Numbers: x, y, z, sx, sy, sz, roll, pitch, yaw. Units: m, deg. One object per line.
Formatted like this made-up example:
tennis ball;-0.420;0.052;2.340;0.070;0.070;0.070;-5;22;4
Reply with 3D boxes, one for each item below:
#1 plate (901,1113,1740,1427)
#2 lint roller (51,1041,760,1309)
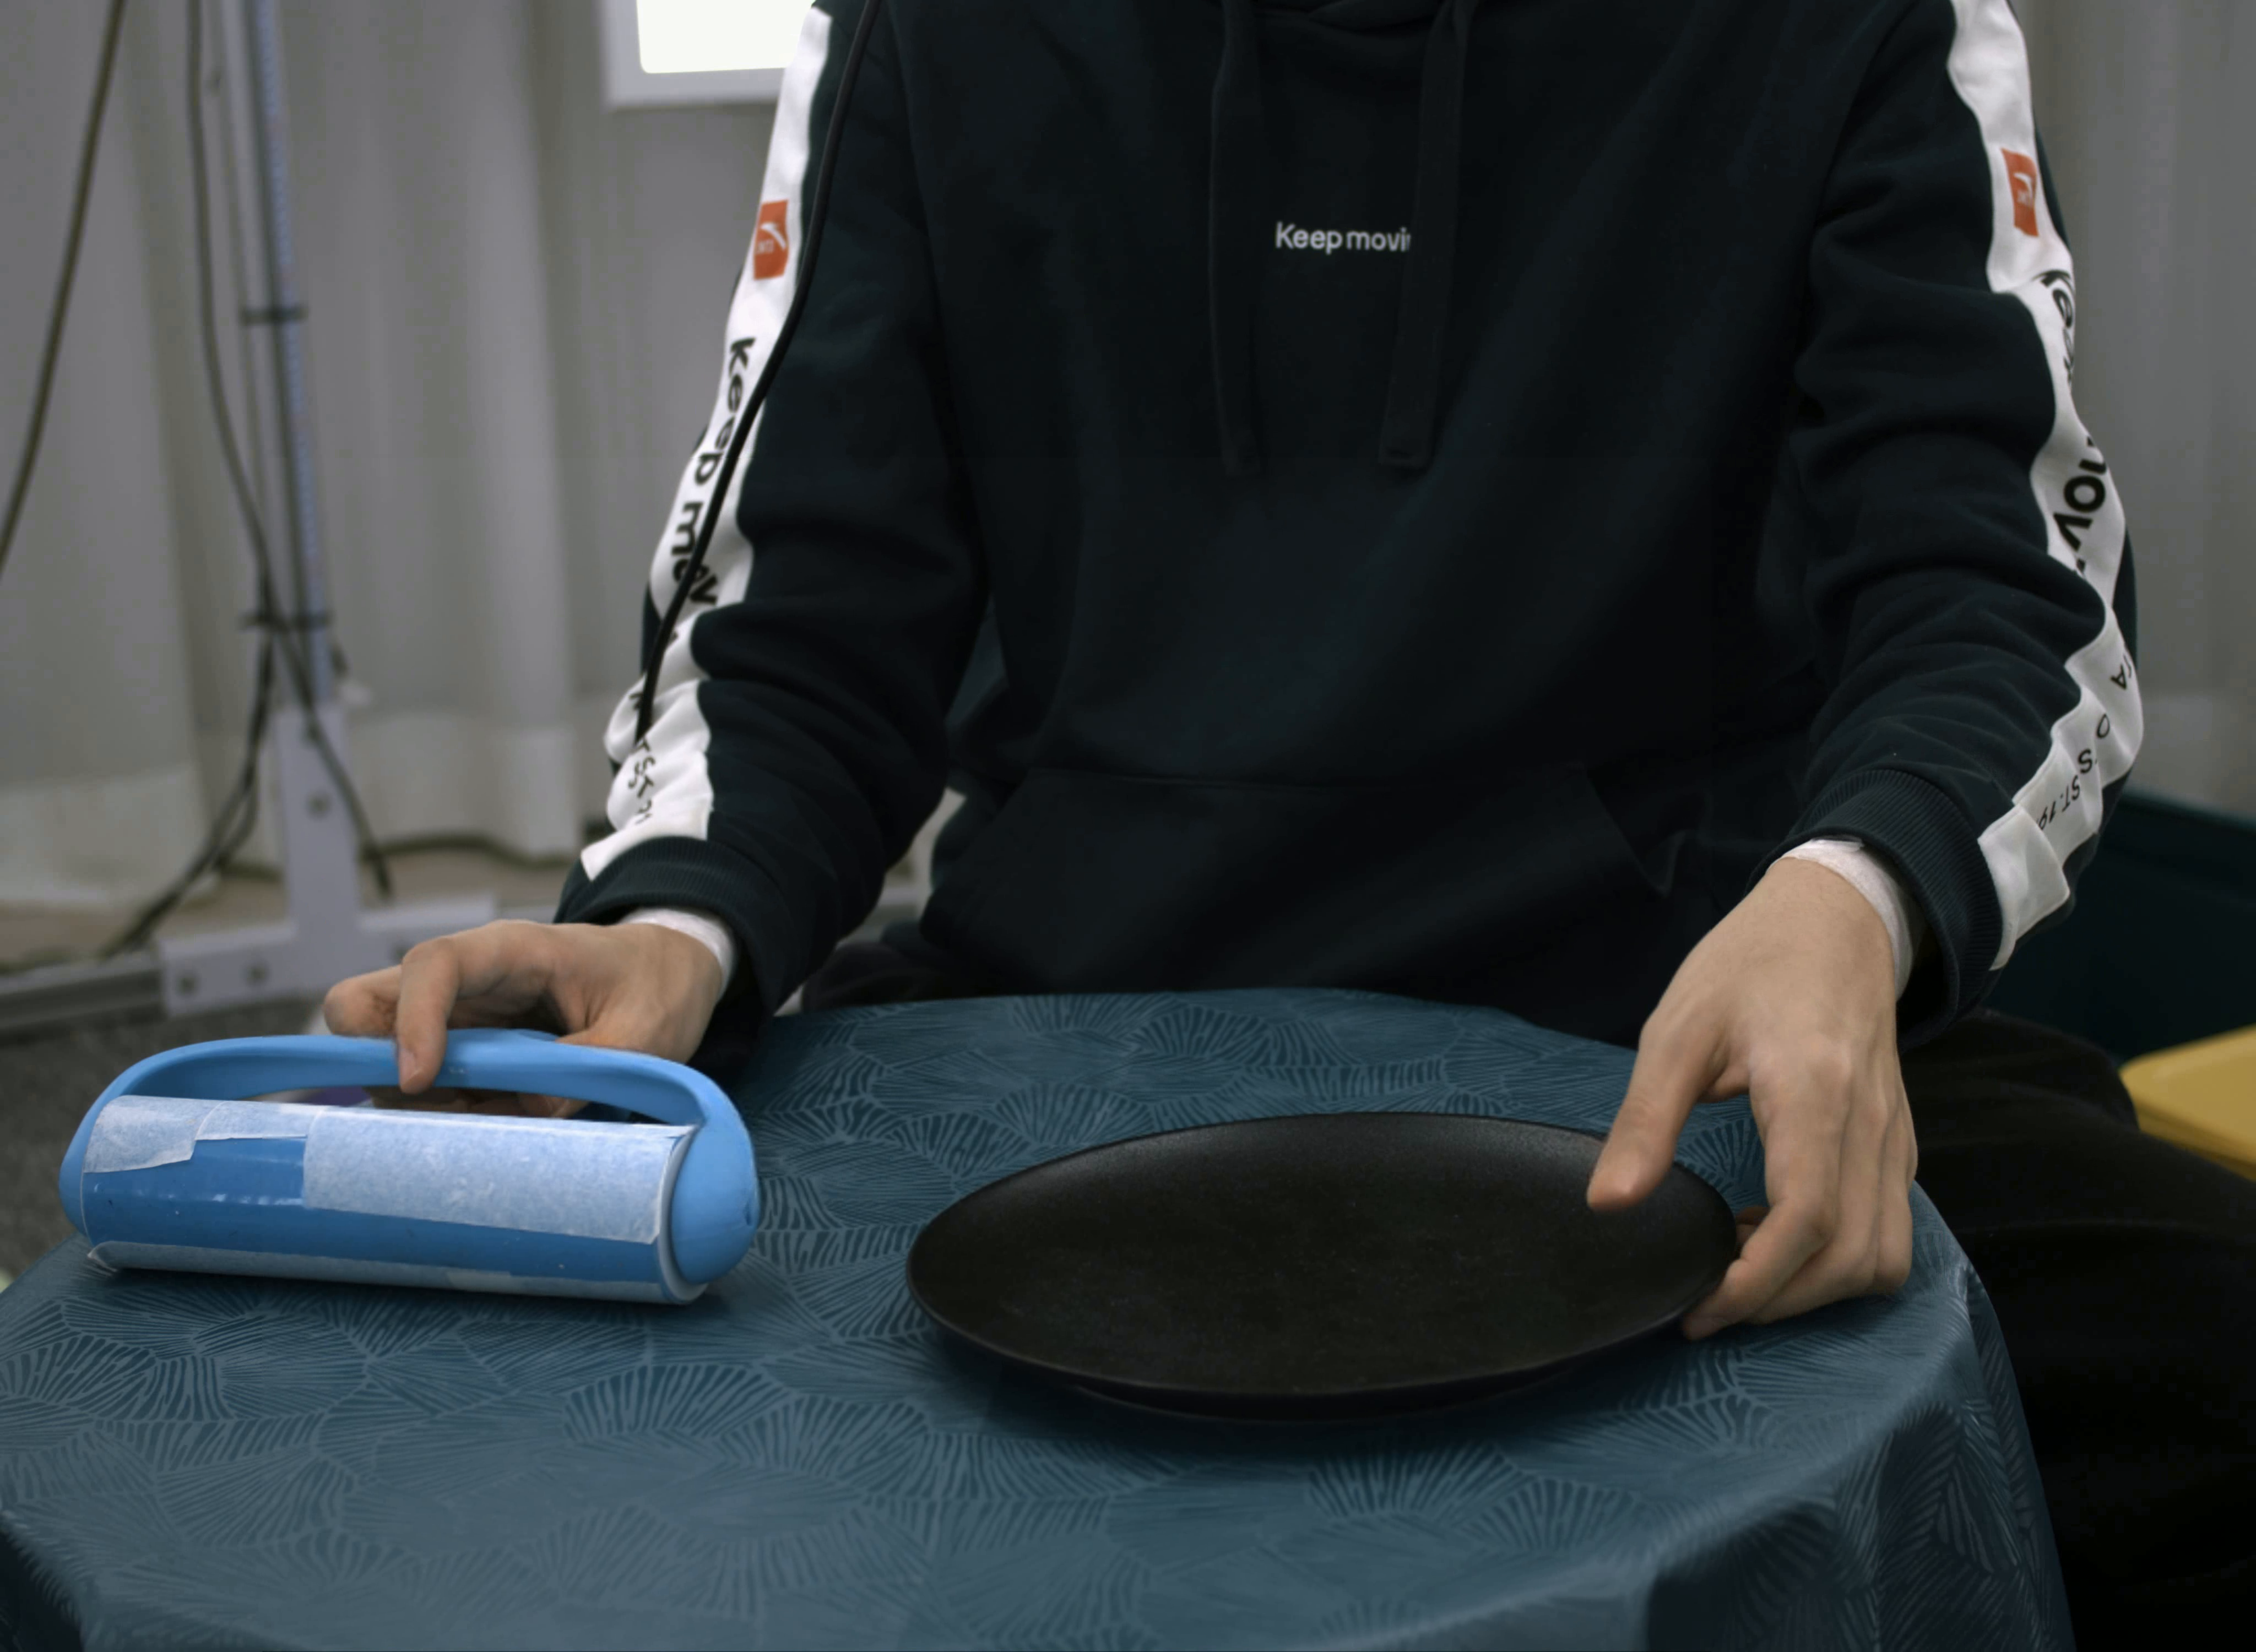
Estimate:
plate;0.056;0.132;1.594;0.243;0.023;0.246;-3;15;0
lint roller;-0.205;0.098;1.713;0.229;0.067;0.181;0;14;16
